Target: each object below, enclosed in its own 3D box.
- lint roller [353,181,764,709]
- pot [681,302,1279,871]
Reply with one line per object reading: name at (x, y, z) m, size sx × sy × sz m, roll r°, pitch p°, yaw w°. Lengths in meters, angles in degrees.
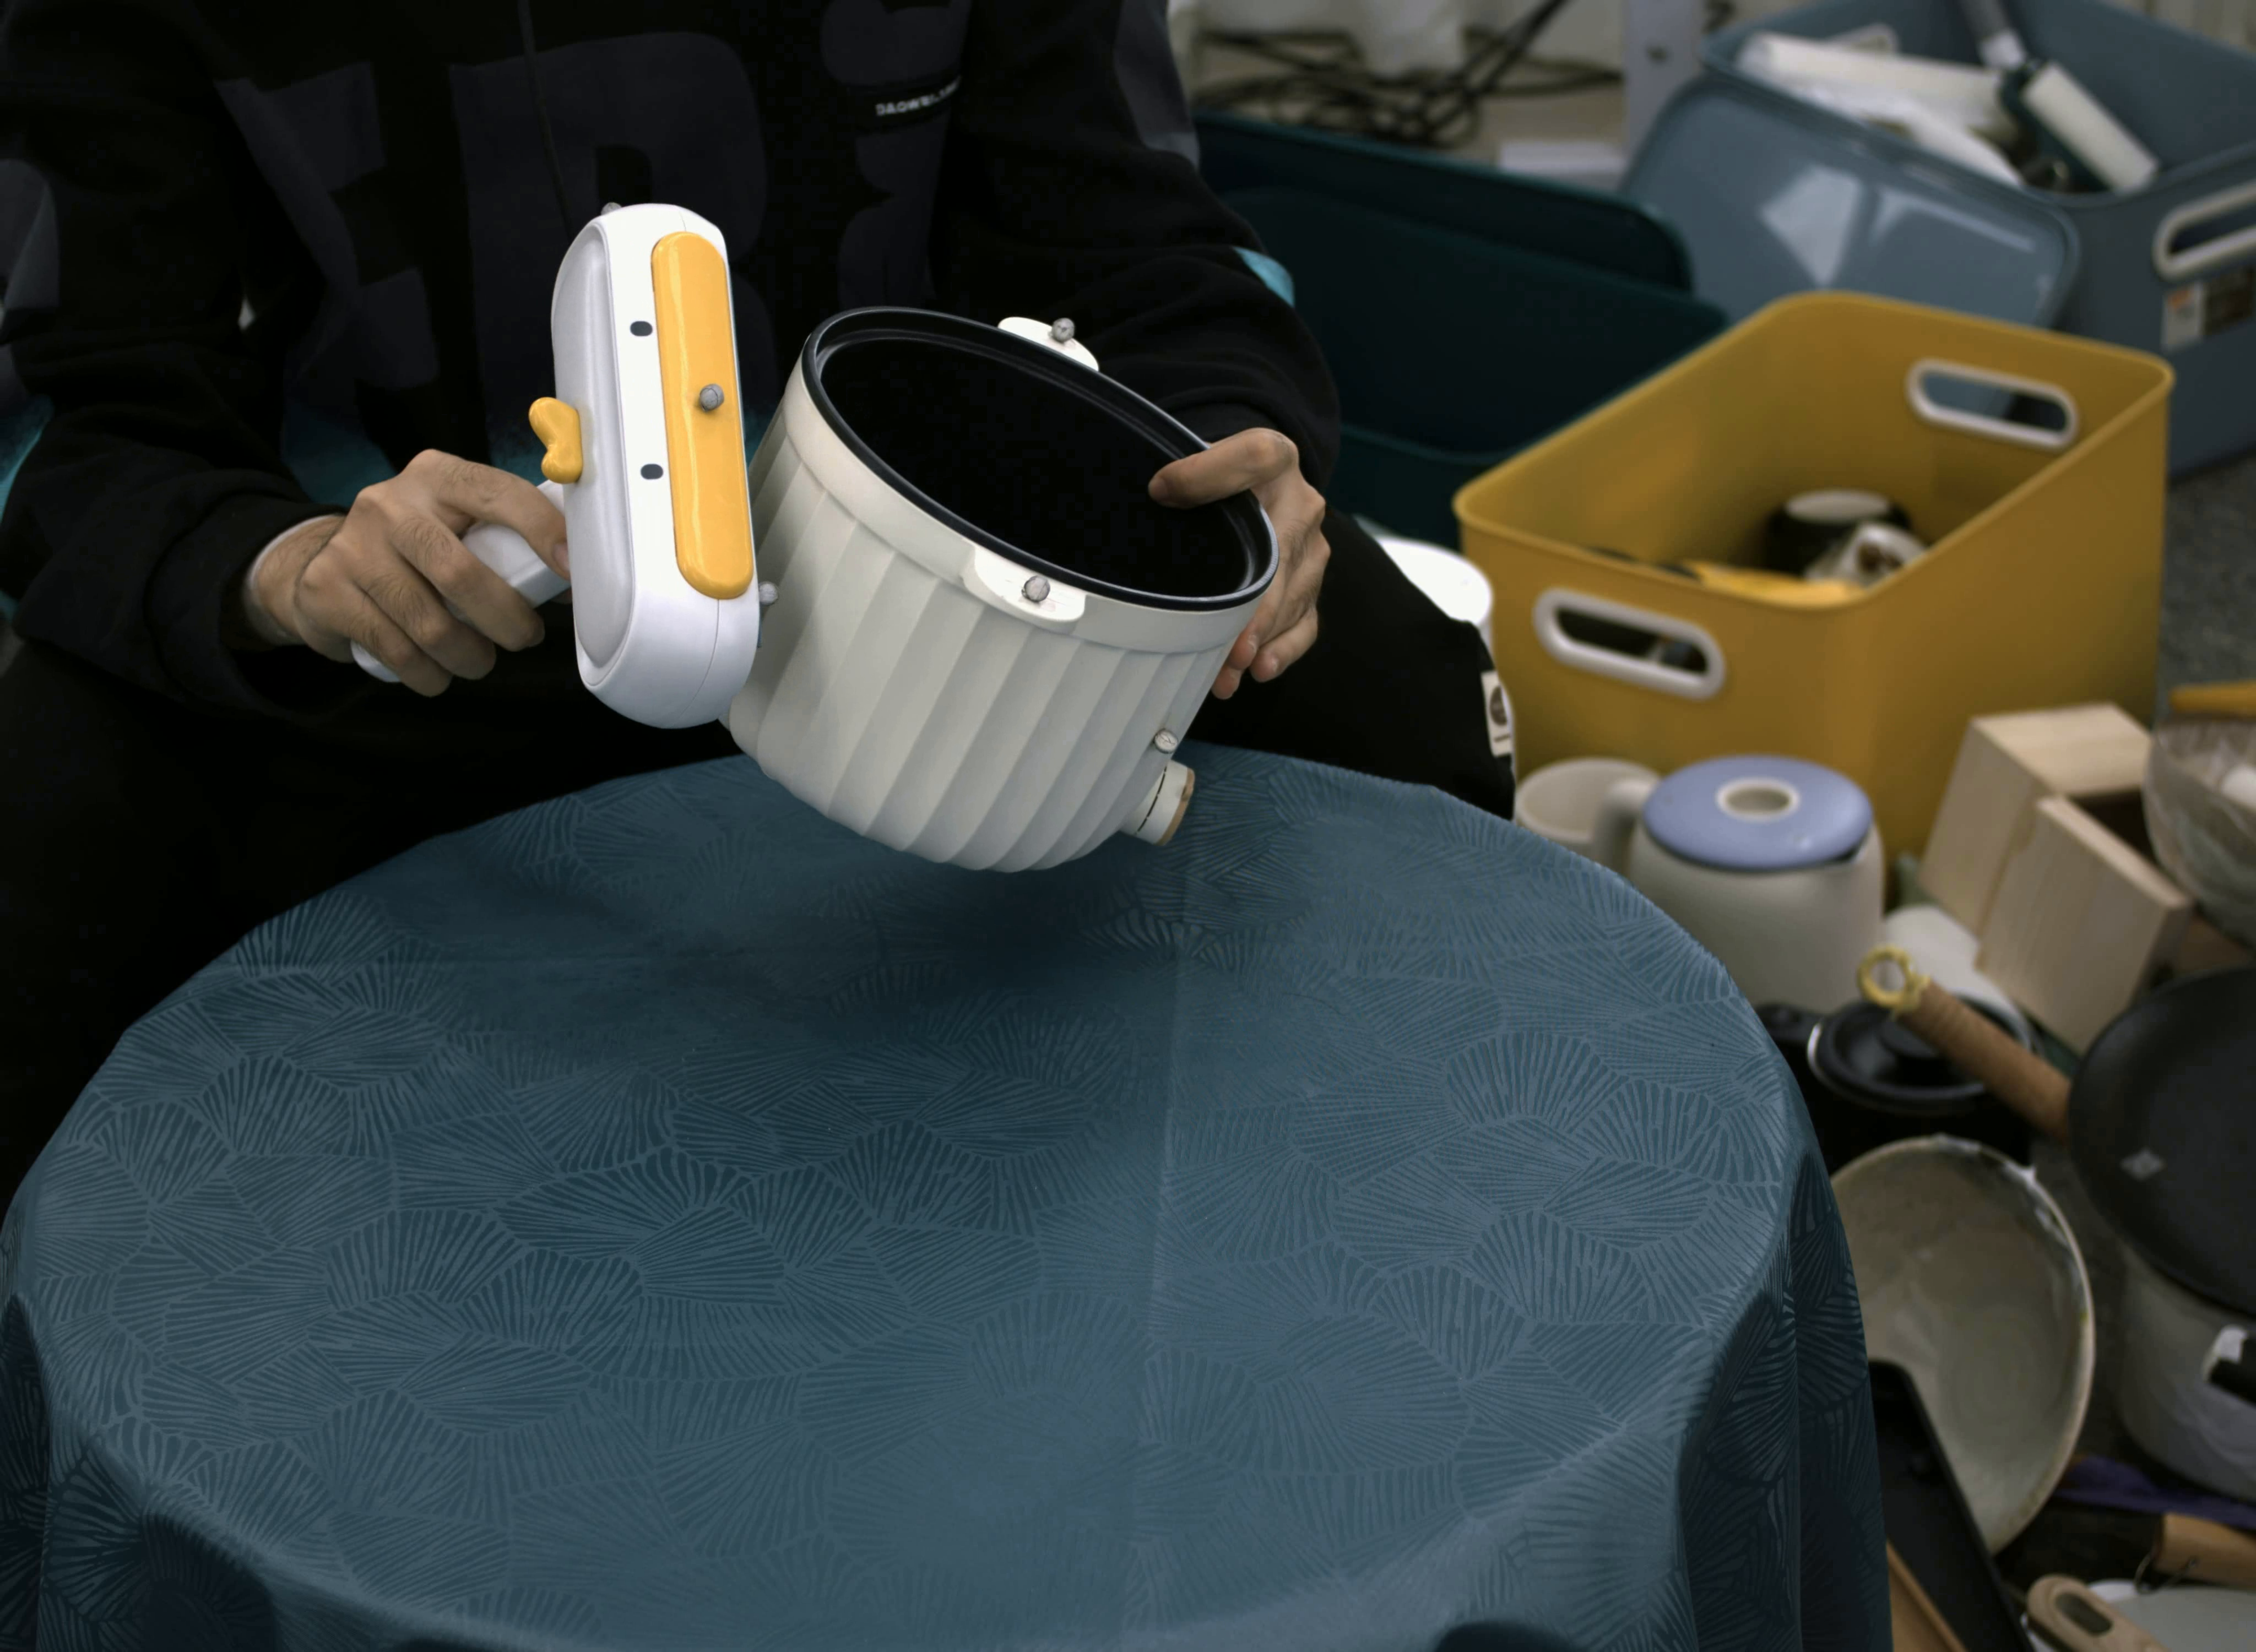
lint roller at (-0.199, -0.102, 1.947) m, size 0.074 × 0.189 × 0.196 m, roll 10°, pitch 52°, yaw -36°
pot at (-0.051, -0.075, 1.968) m, size 0.190 × 0.141 × 0.244 m, roll 21°, pitch 26°, yaw -10°
